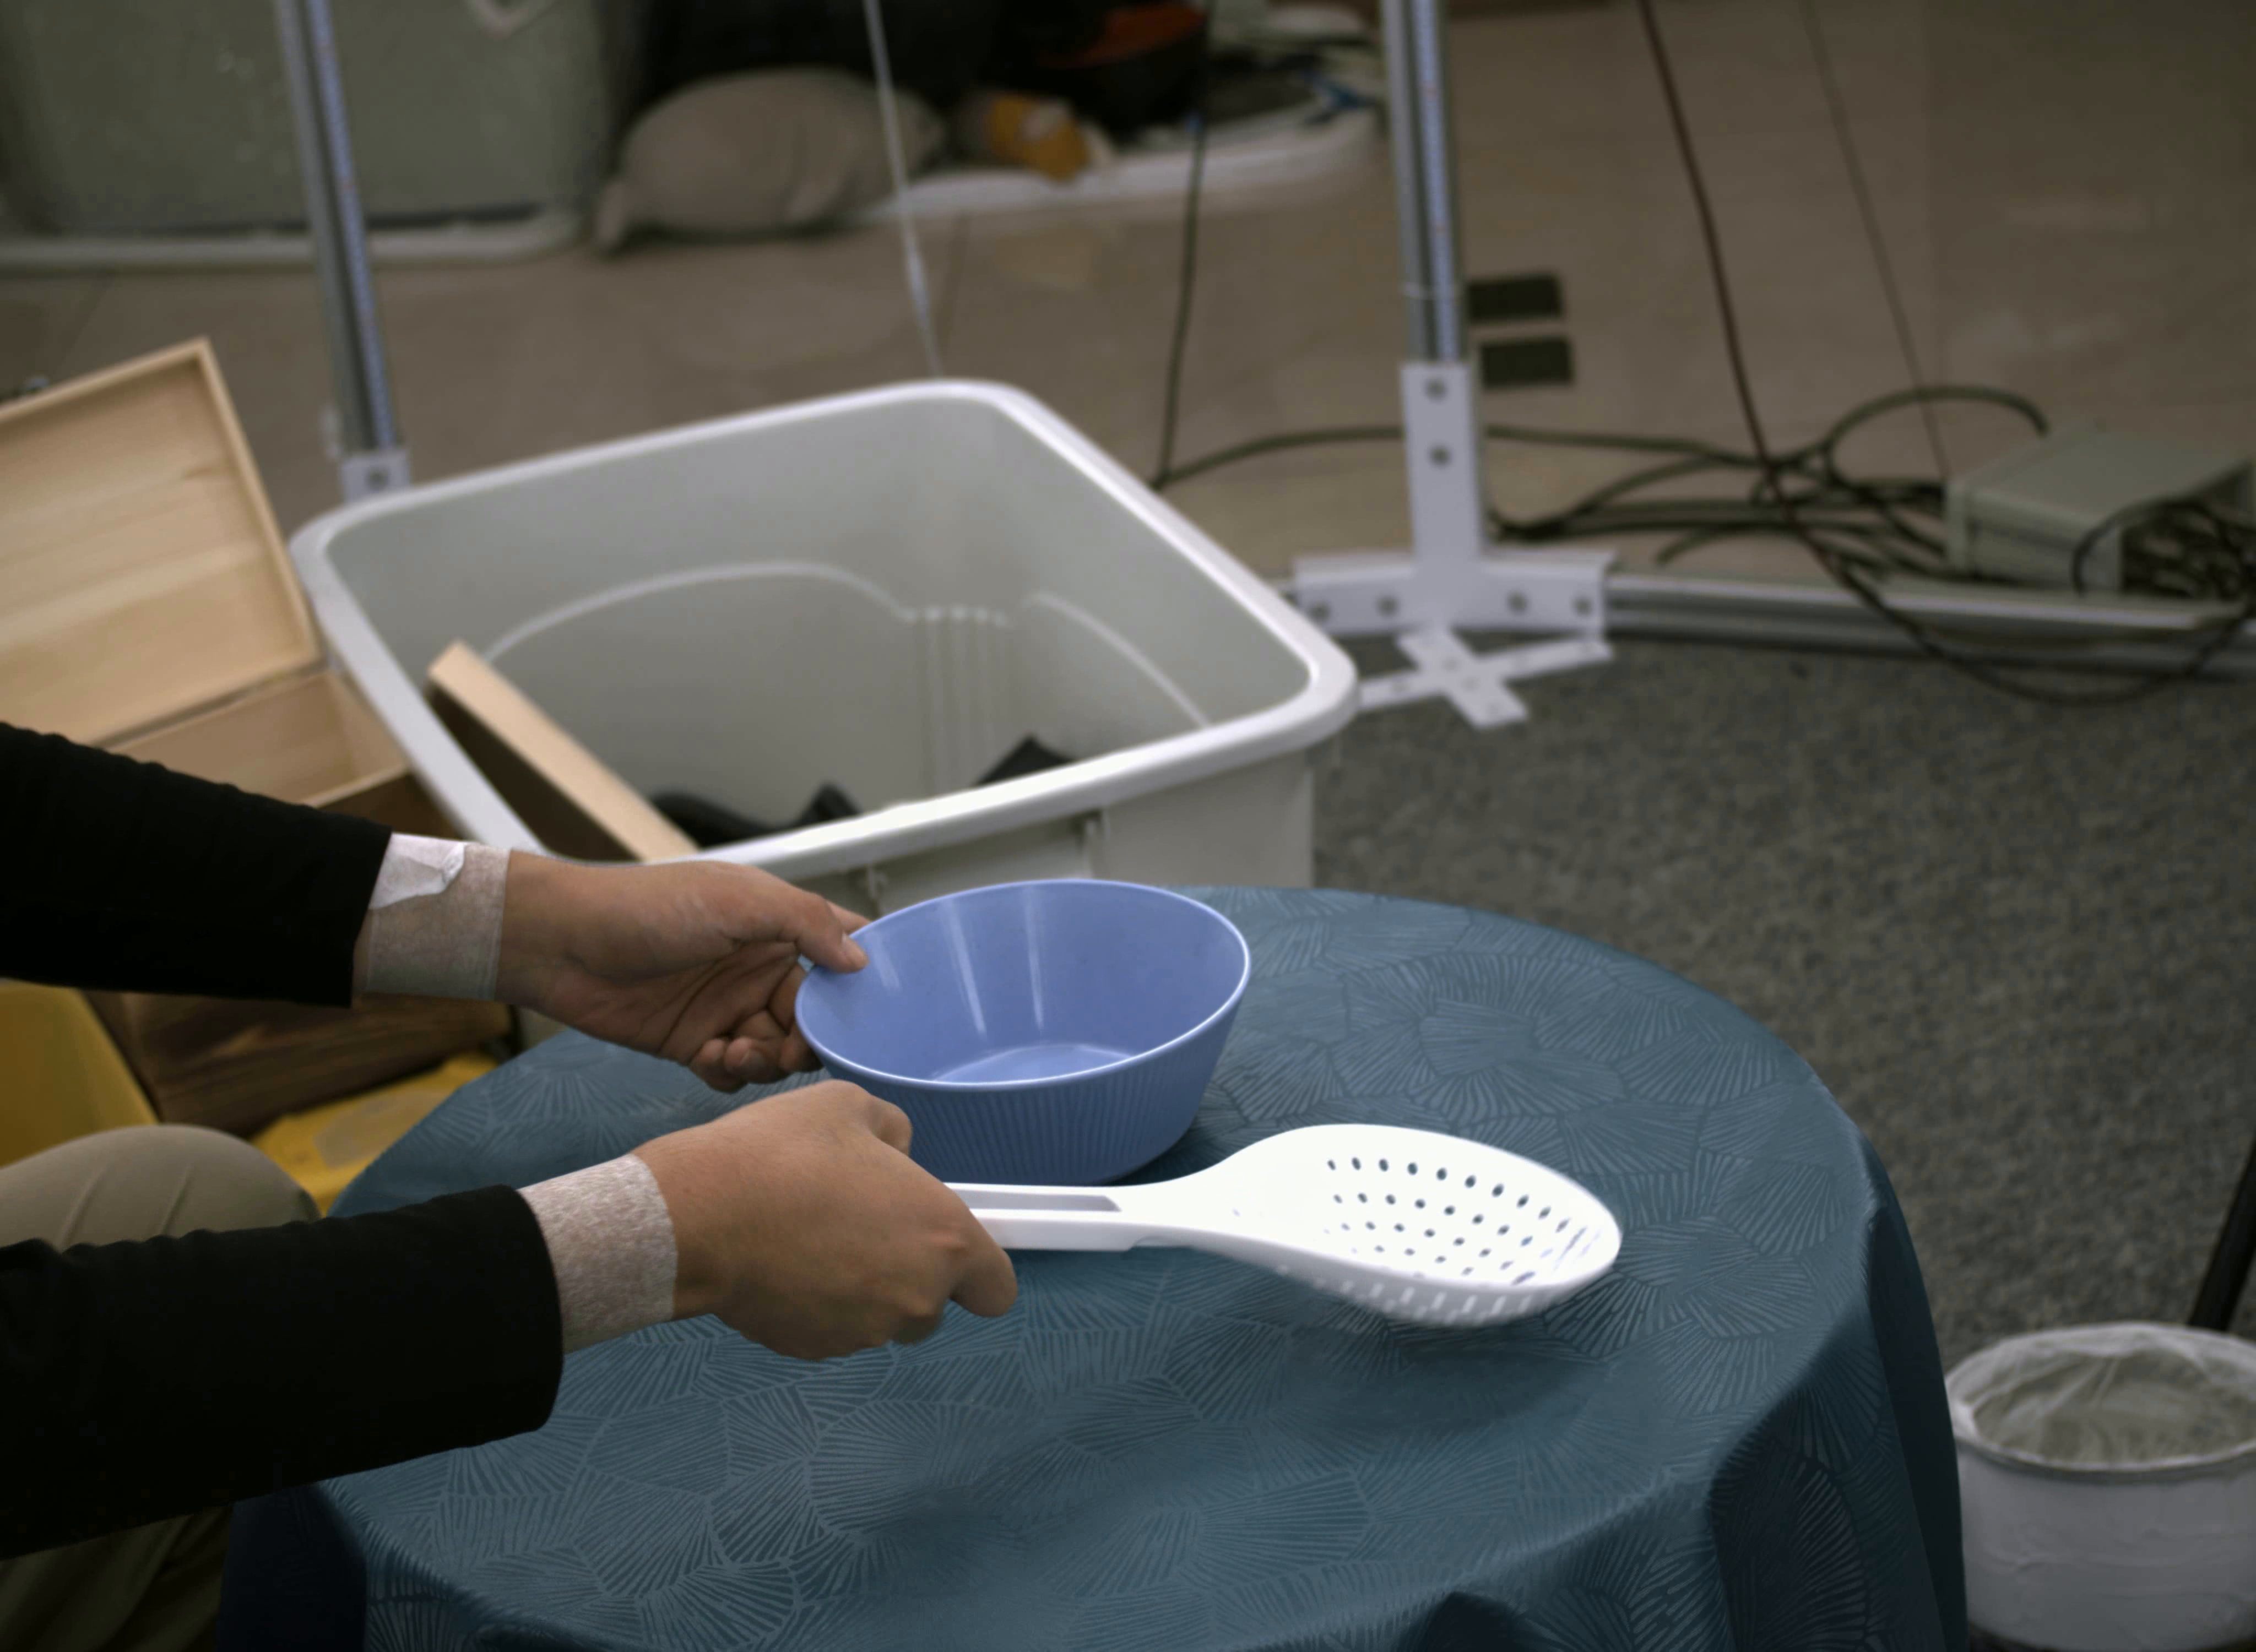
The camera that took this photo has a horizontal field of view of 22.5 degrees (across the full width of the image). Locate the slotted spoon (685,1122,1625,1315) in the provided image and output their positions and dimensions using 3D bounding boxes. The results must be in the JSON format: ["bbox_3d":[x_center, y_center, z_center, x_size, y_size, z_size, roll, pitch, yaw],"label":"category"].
[{"bbox_3d":[0.012,0.136,1.982,0.350,0.046,0.134,6,17,-27],"label":"slotted spoon"}]

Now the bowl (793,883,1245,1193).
[{"bbox_3d":[-0.038,0.088,2.183,0.176,0.071,0.173,-6,25,3],"label":"bowl"}]
